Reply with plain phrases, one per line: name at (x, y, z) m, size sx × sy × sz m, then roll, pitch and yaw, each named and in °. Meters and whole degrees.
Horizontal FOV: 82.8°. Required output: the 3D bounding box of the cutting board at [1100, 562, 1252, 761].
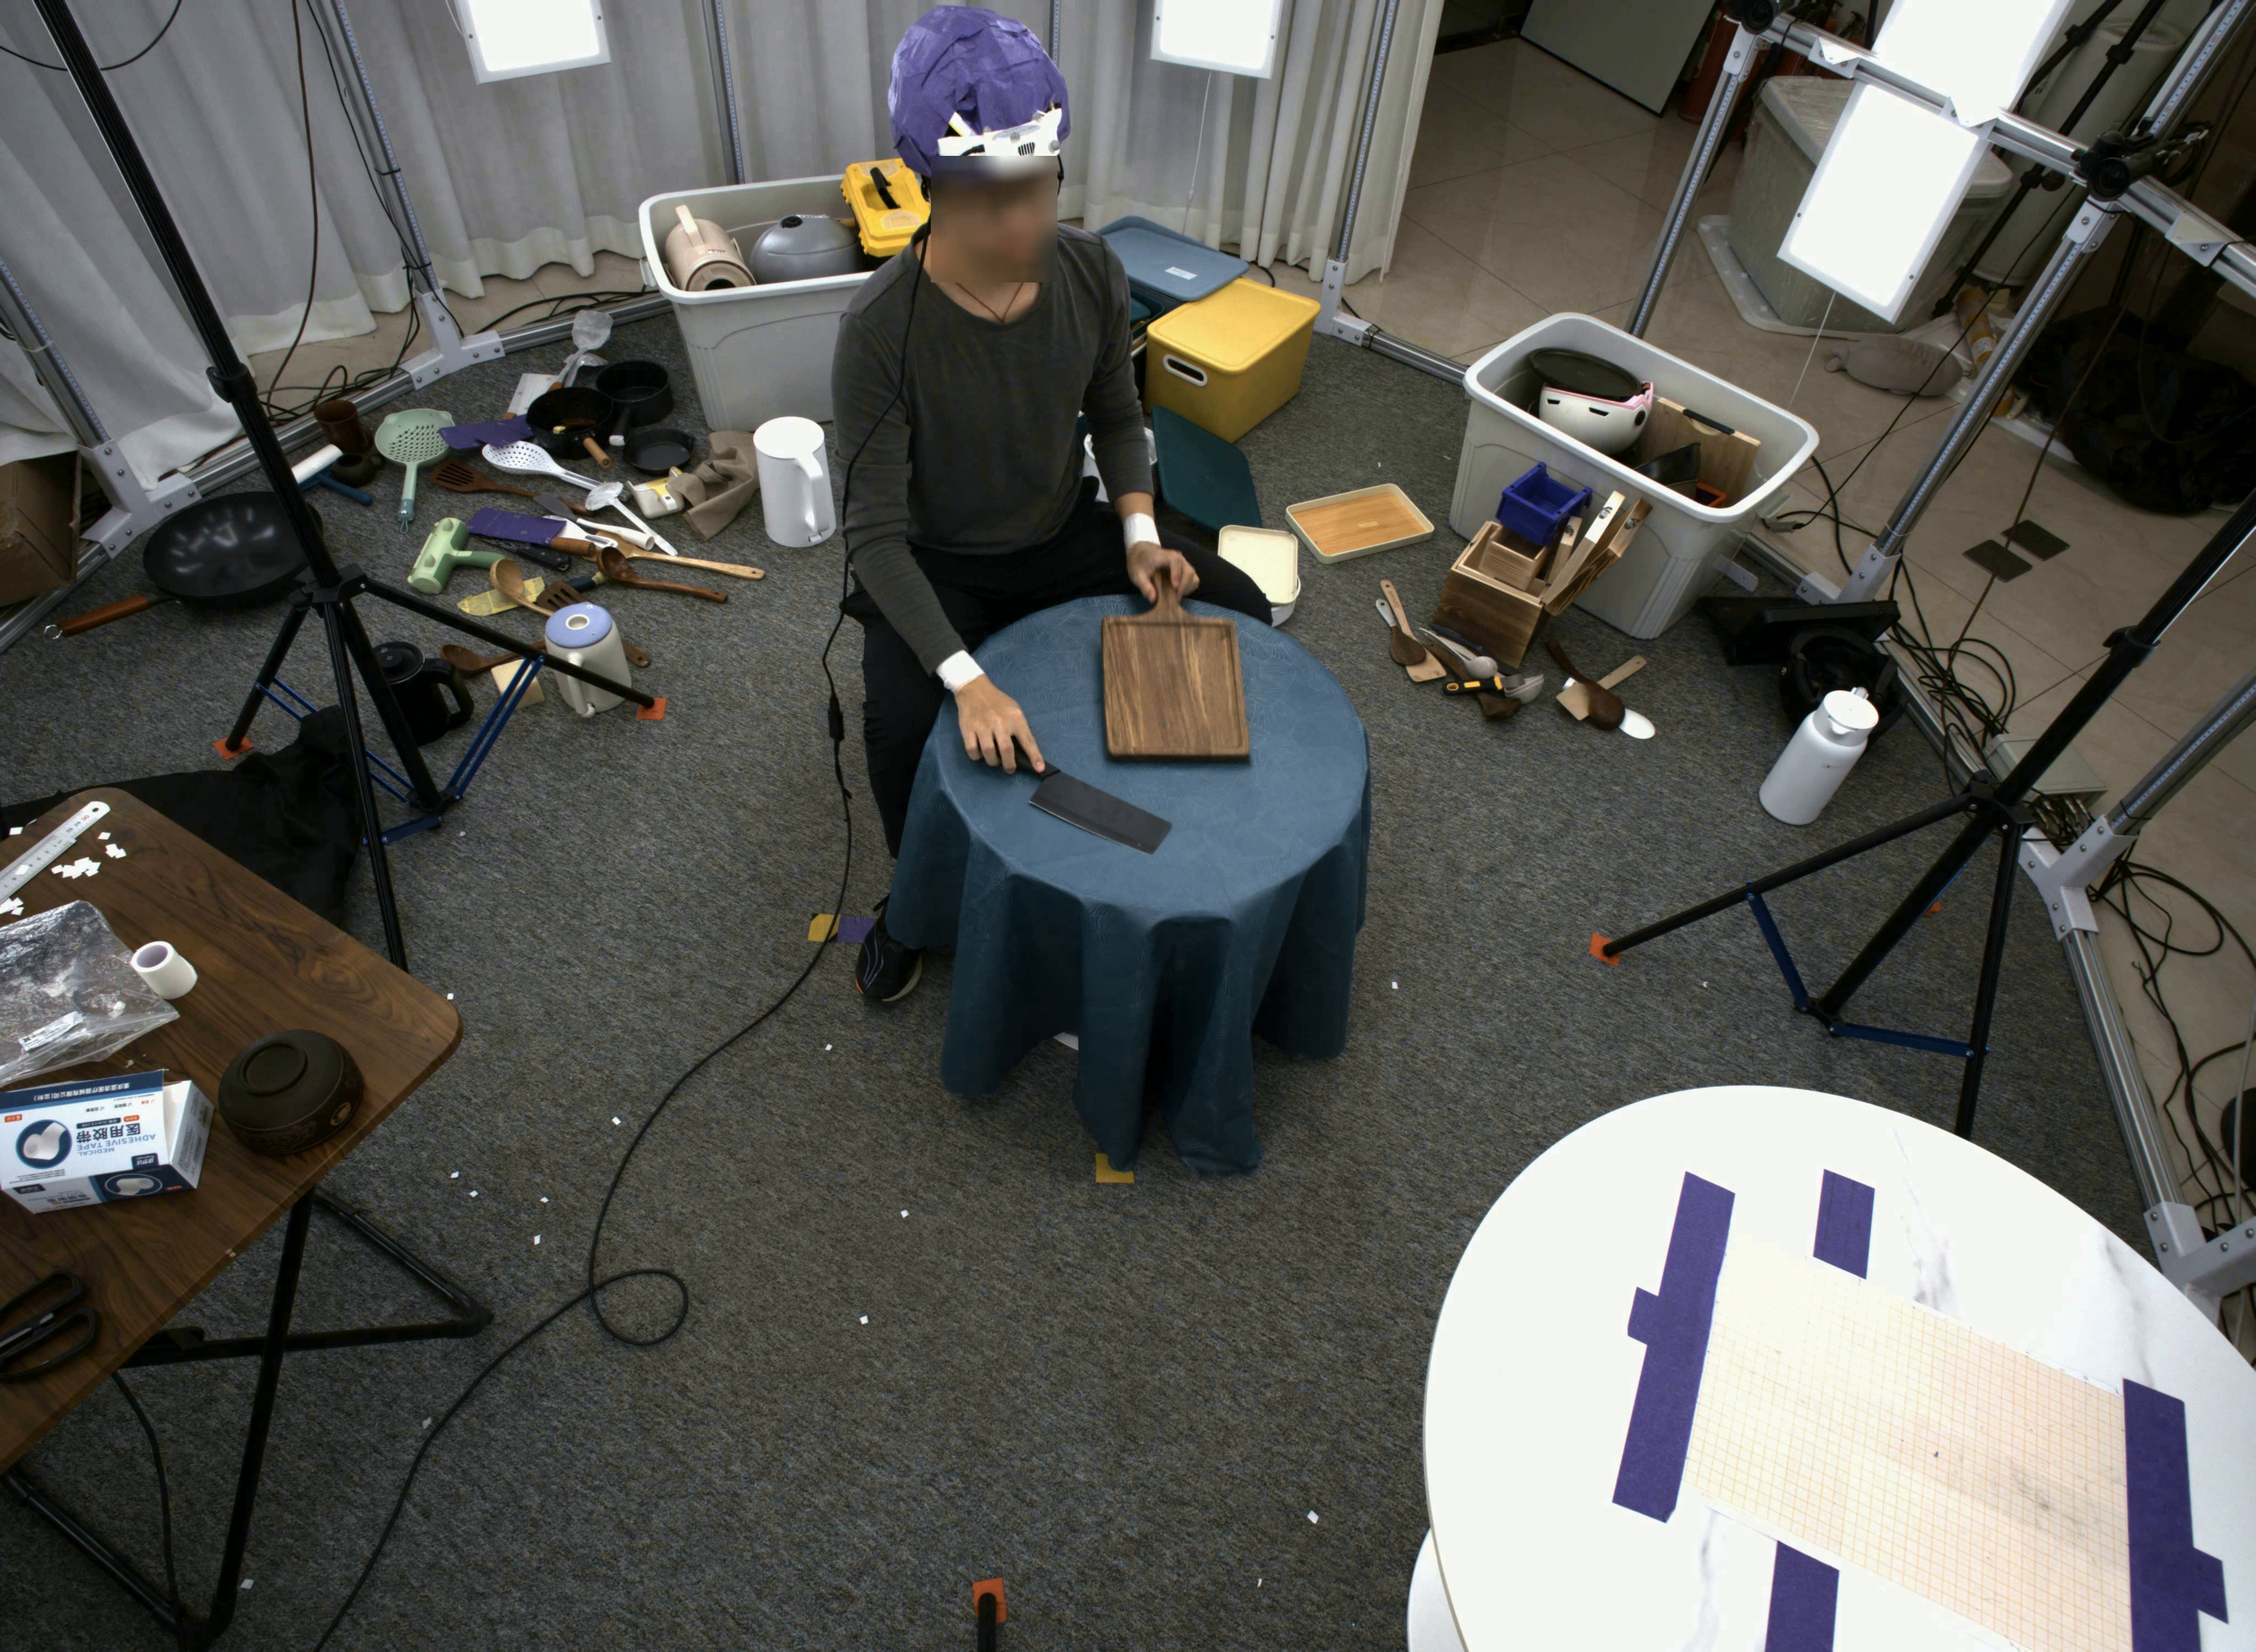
cutting board at (0.062, -0.243, 1.840) m, size 0.201 × 0.023 × 0.360 m, roll 0°, pitch 56°, yaw -5°

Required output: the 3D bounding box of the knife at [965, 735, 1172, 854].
knife at (-0.085, -0.046, 1.693) m, size 0.305 × 0.020 × 0.082 m, roll 28°, pitch 55°, yaw 17°
